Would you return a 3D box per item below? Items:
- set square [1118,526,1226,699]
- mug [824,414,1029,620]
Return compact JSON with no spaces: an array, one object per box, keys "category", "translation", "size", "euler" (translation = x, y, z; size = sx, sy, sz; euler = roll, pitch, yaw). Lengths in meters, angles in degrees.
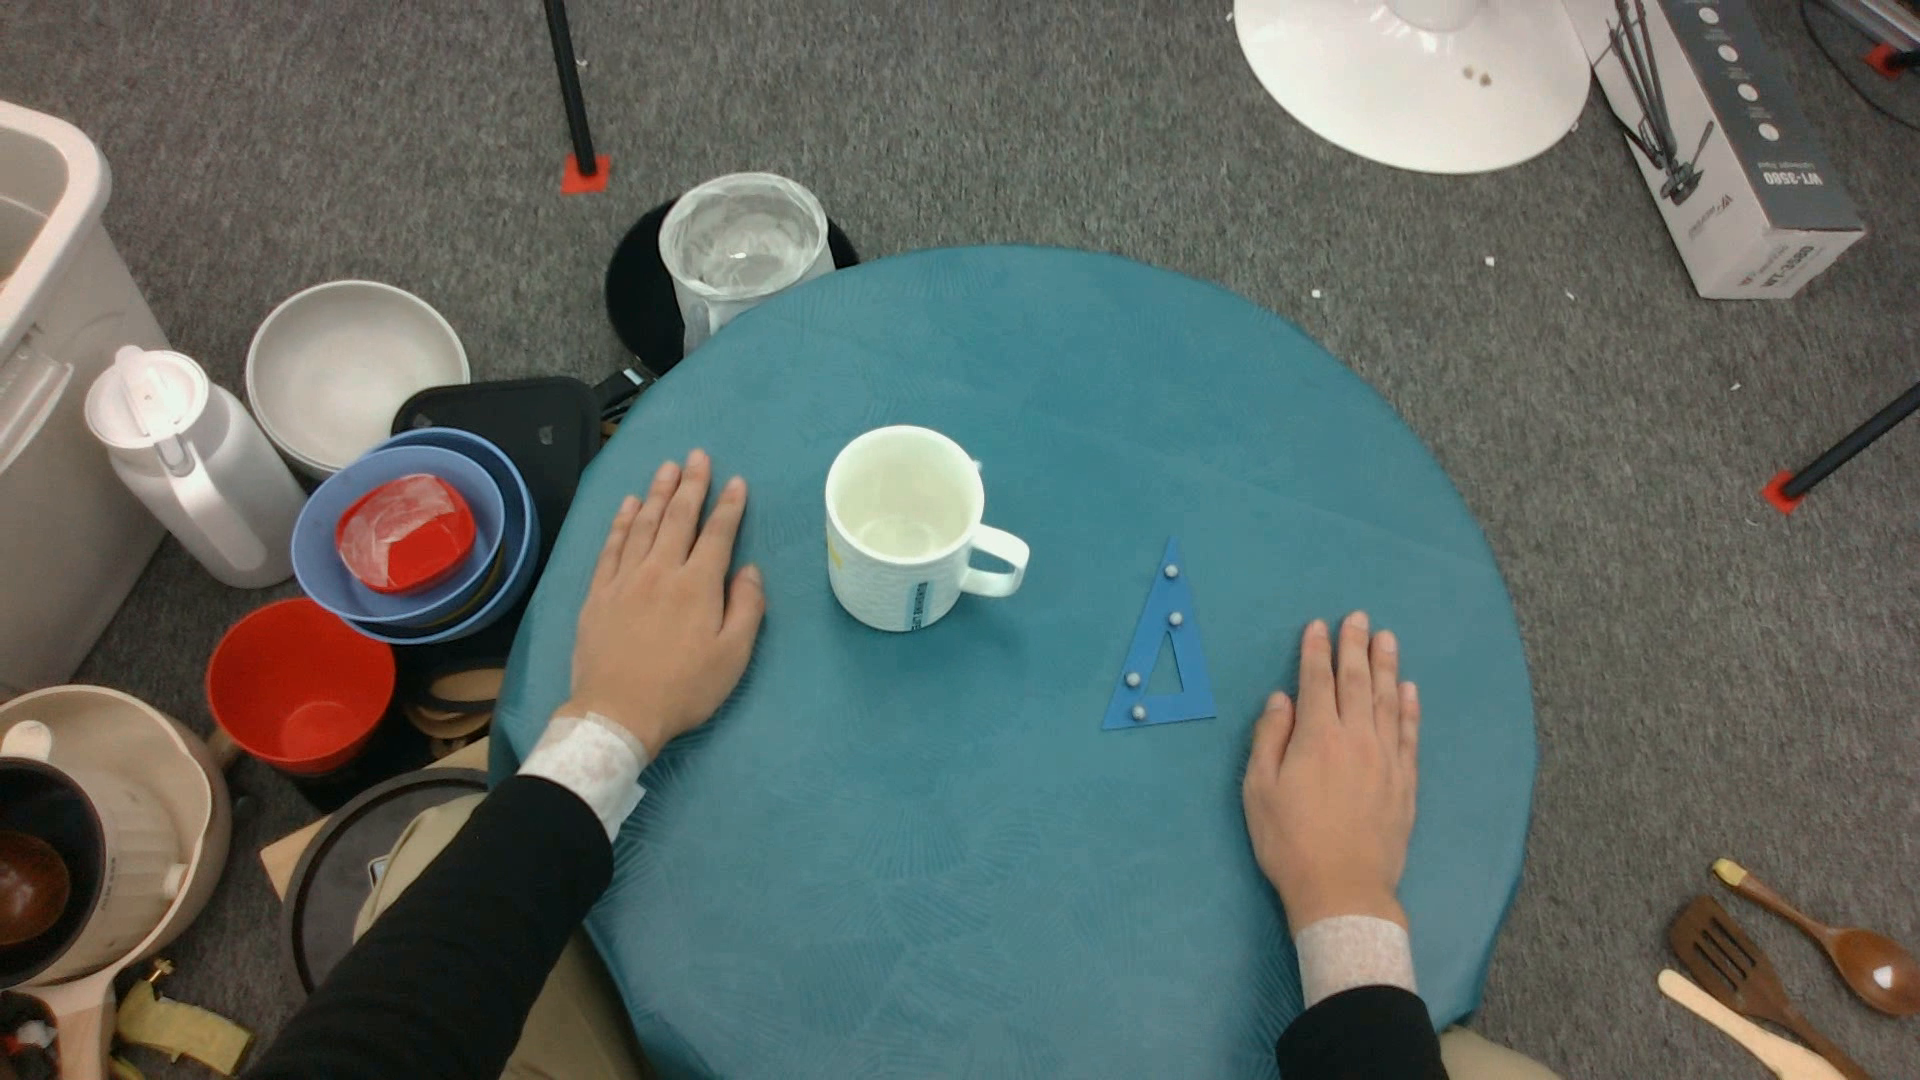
[{"category":"set square","translation":[0.145,0.051,0.832],"size":[0.061,0.006,0.132],"euler":[24,63,8]},{"category":"mug","translation":[-0.020,-0.005,0.789],"size":[0.118,0.101,0.085],"euler":[20,63,4]}]
